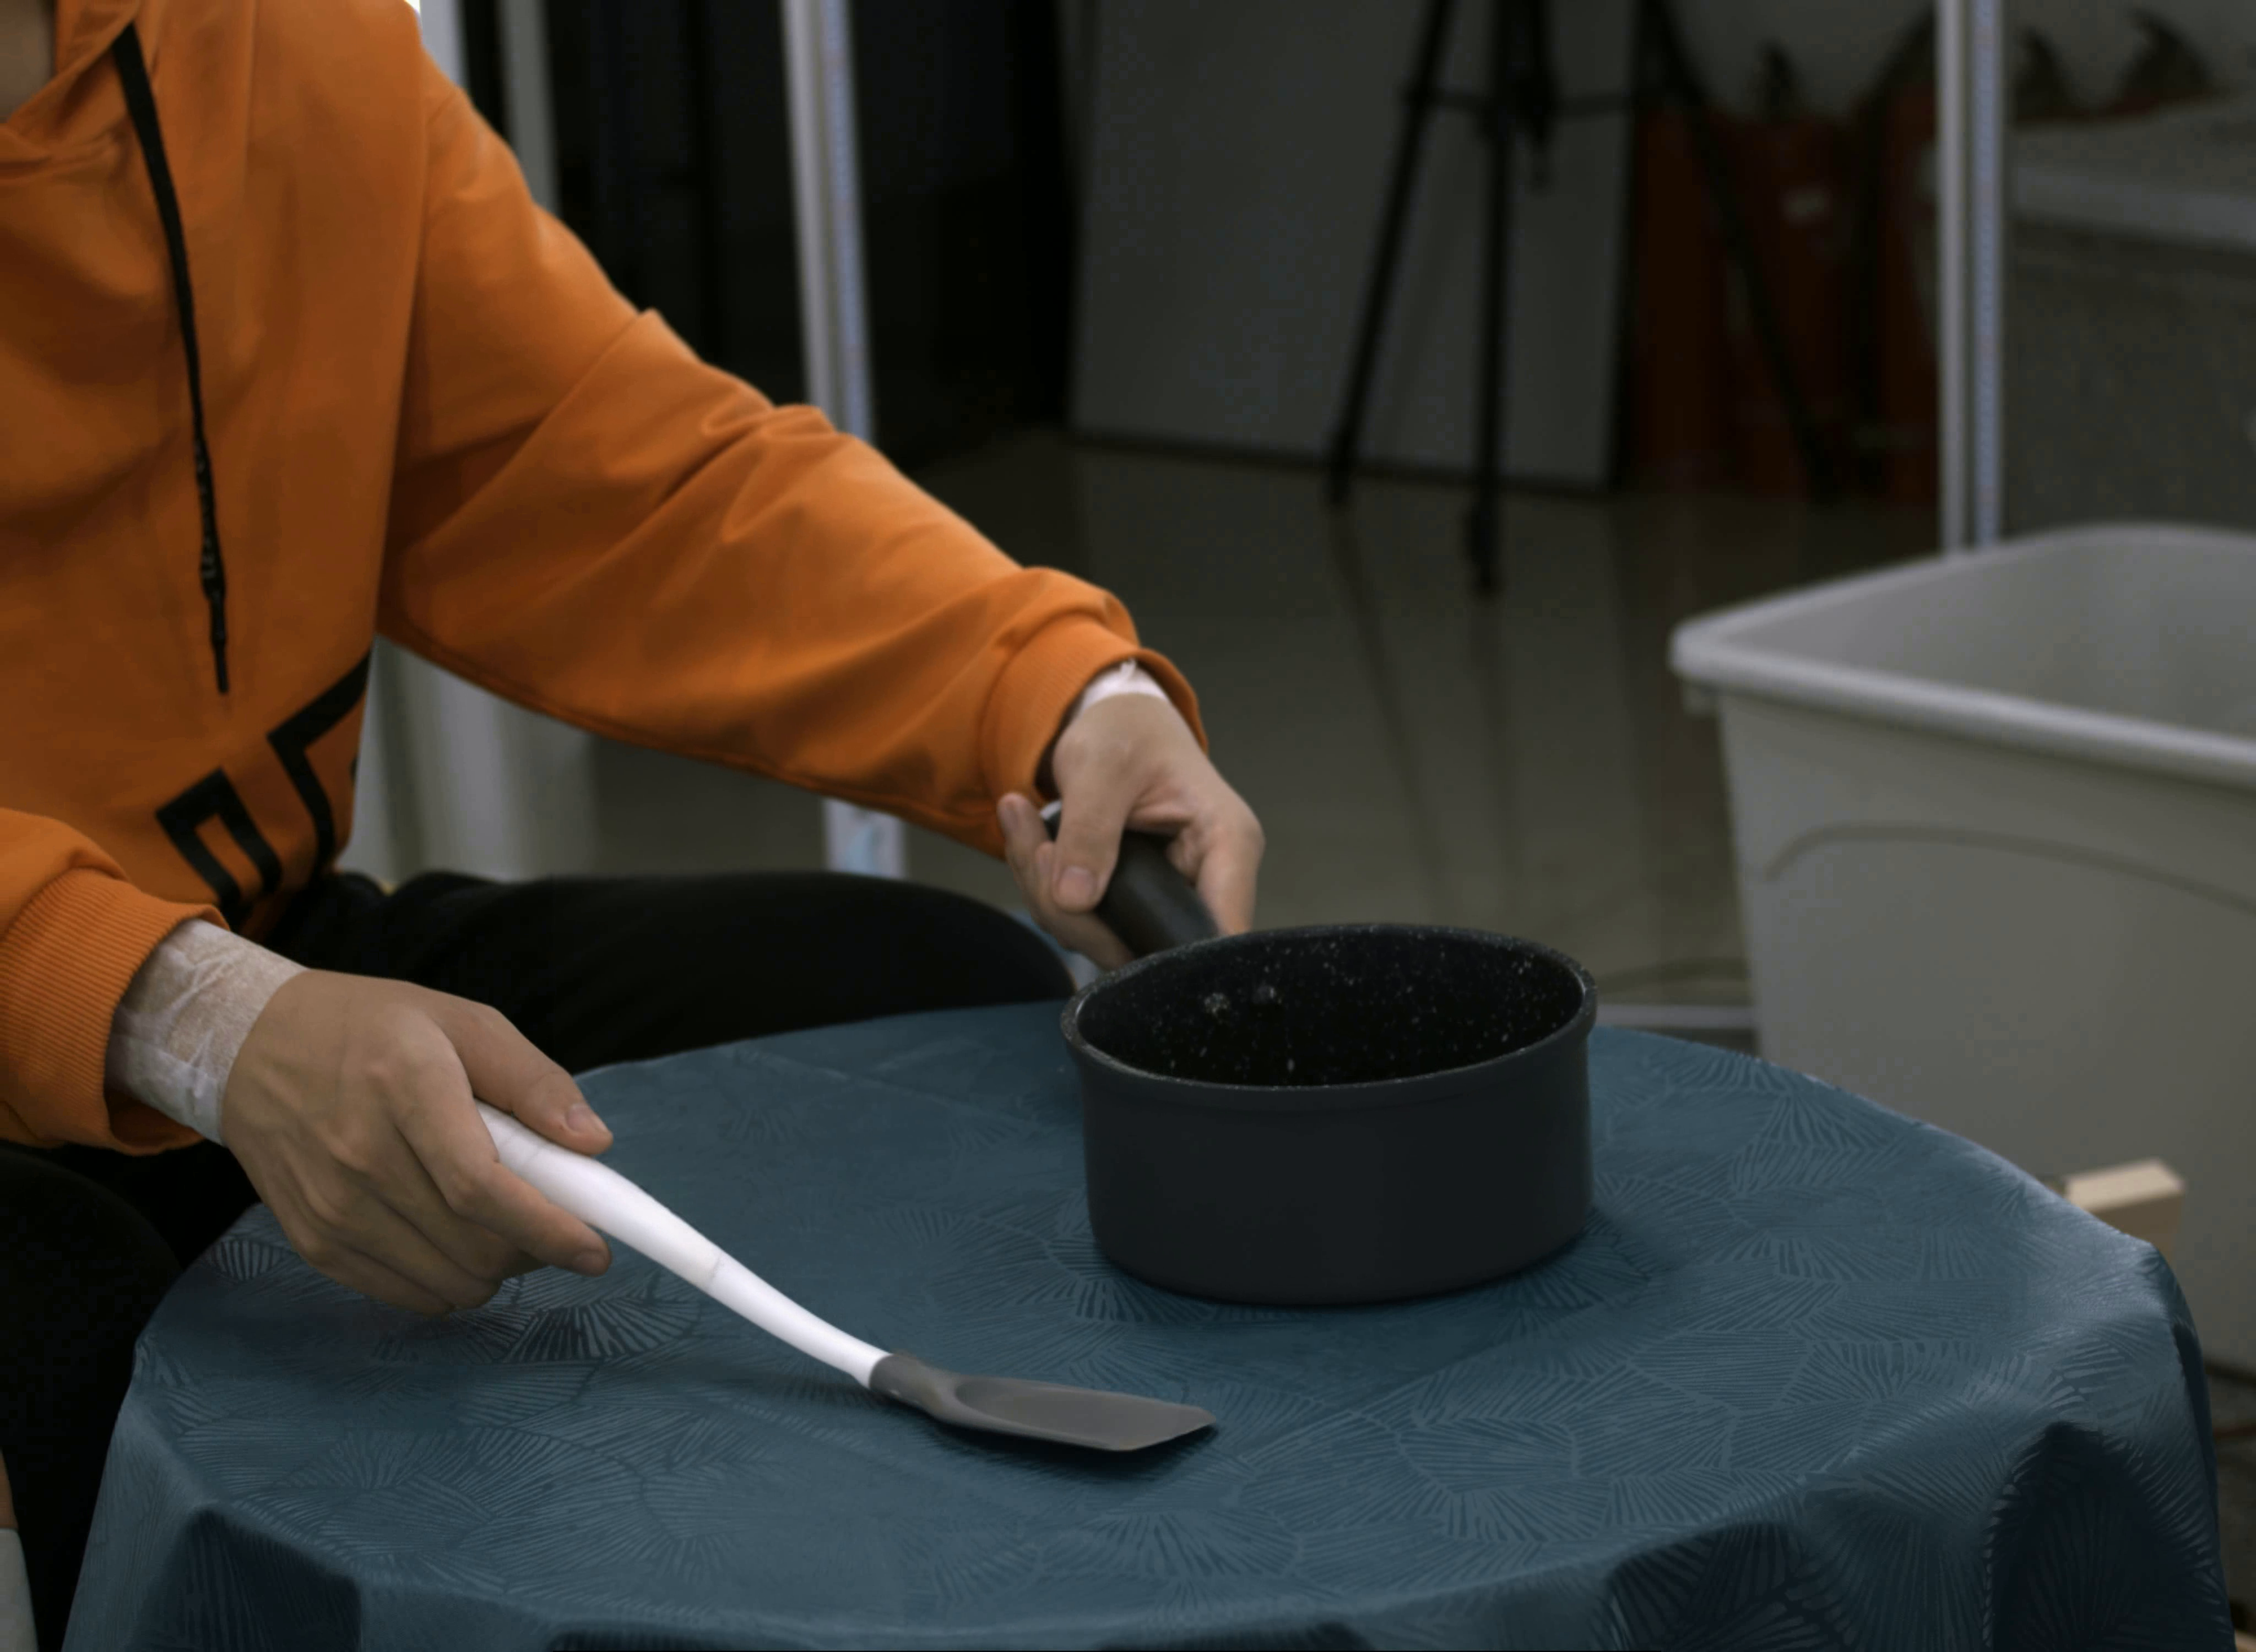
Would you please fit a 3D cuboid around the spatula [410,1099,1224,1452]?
[{"bbox_3d":[-0.098,0.140,1.606,0.289,0.032,0.057,19,11,33],"label":"spatula"}]

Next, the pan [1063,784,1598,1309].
[{"bbox_3d":[0.041,0.069,1.782,0.168,0.087,0.331,-8,17,-16],"label":"pan"}]
